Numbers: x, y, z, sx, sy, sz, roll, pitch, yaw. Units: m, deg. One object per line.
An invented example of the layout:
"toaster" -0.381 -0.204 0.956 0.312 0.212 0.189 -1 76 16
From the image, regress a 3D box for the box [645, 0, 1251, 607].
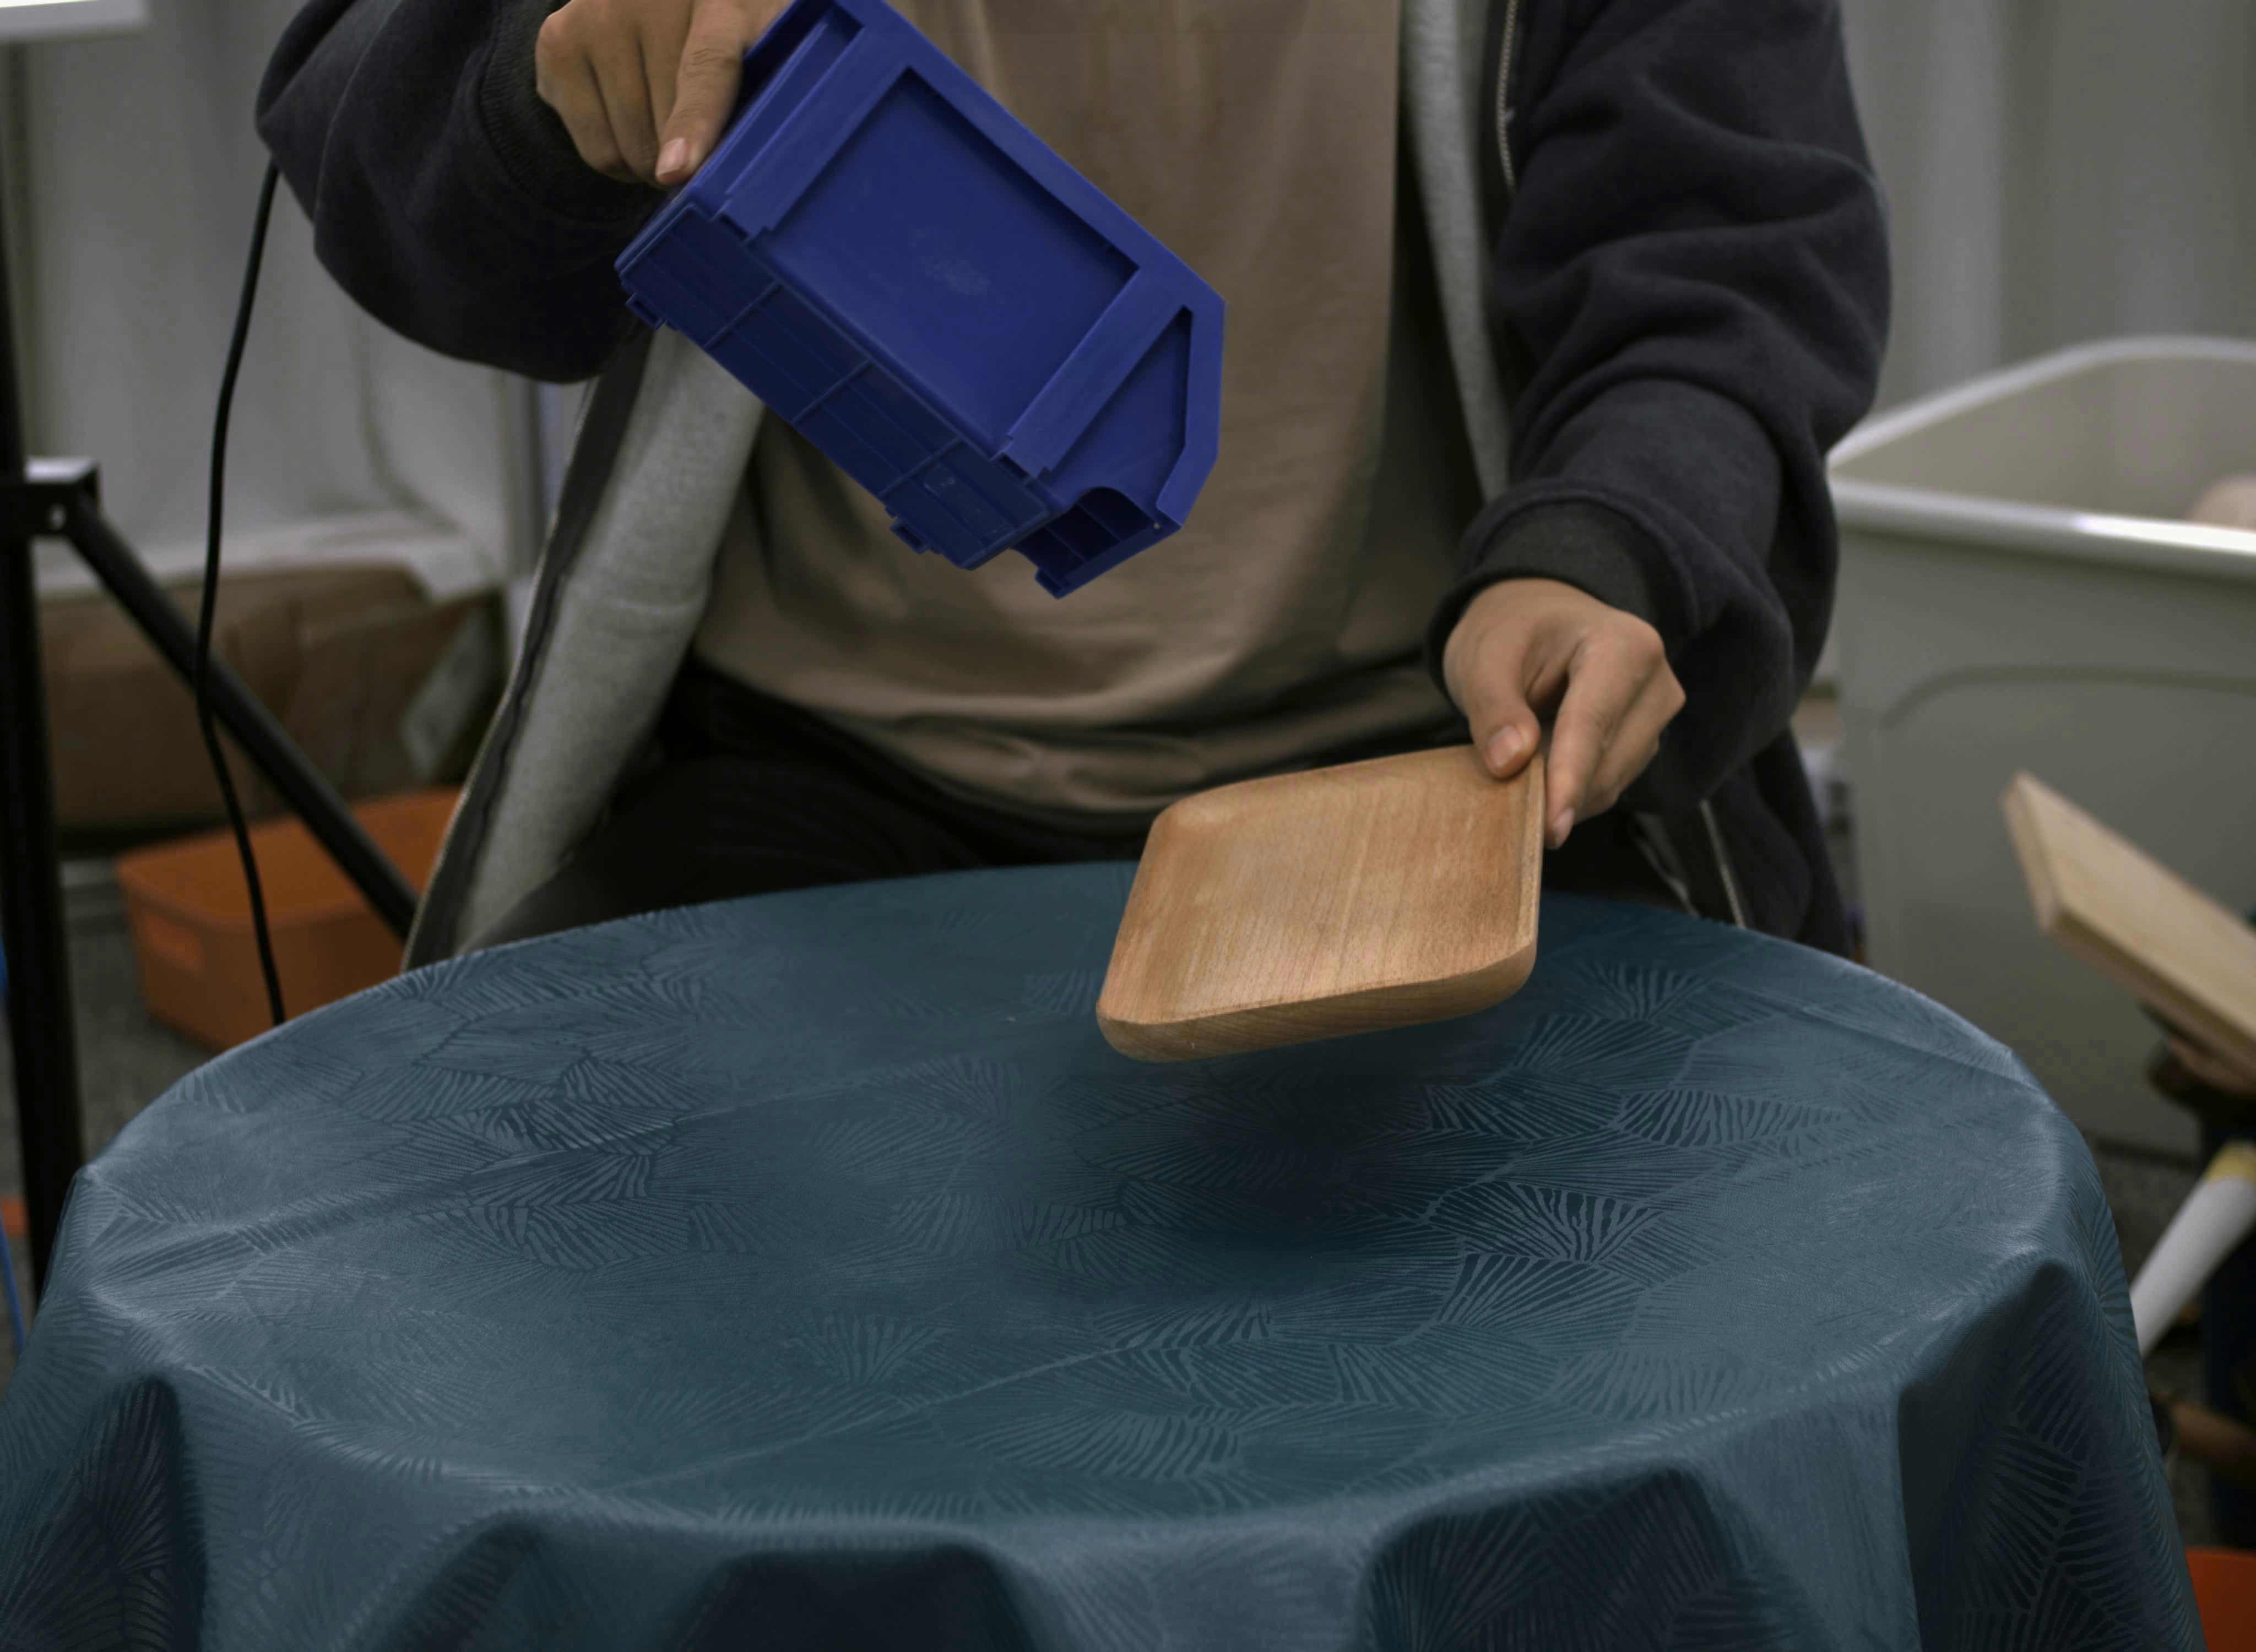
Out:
"box" -0.050 -0.145 1.568 0.178 0.082 0.125 35 -17 -6

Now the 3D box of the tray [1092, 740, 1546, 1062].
"tray" 0.061 0.020 1.592 0.131 0.023 0.250 -7 14 8
